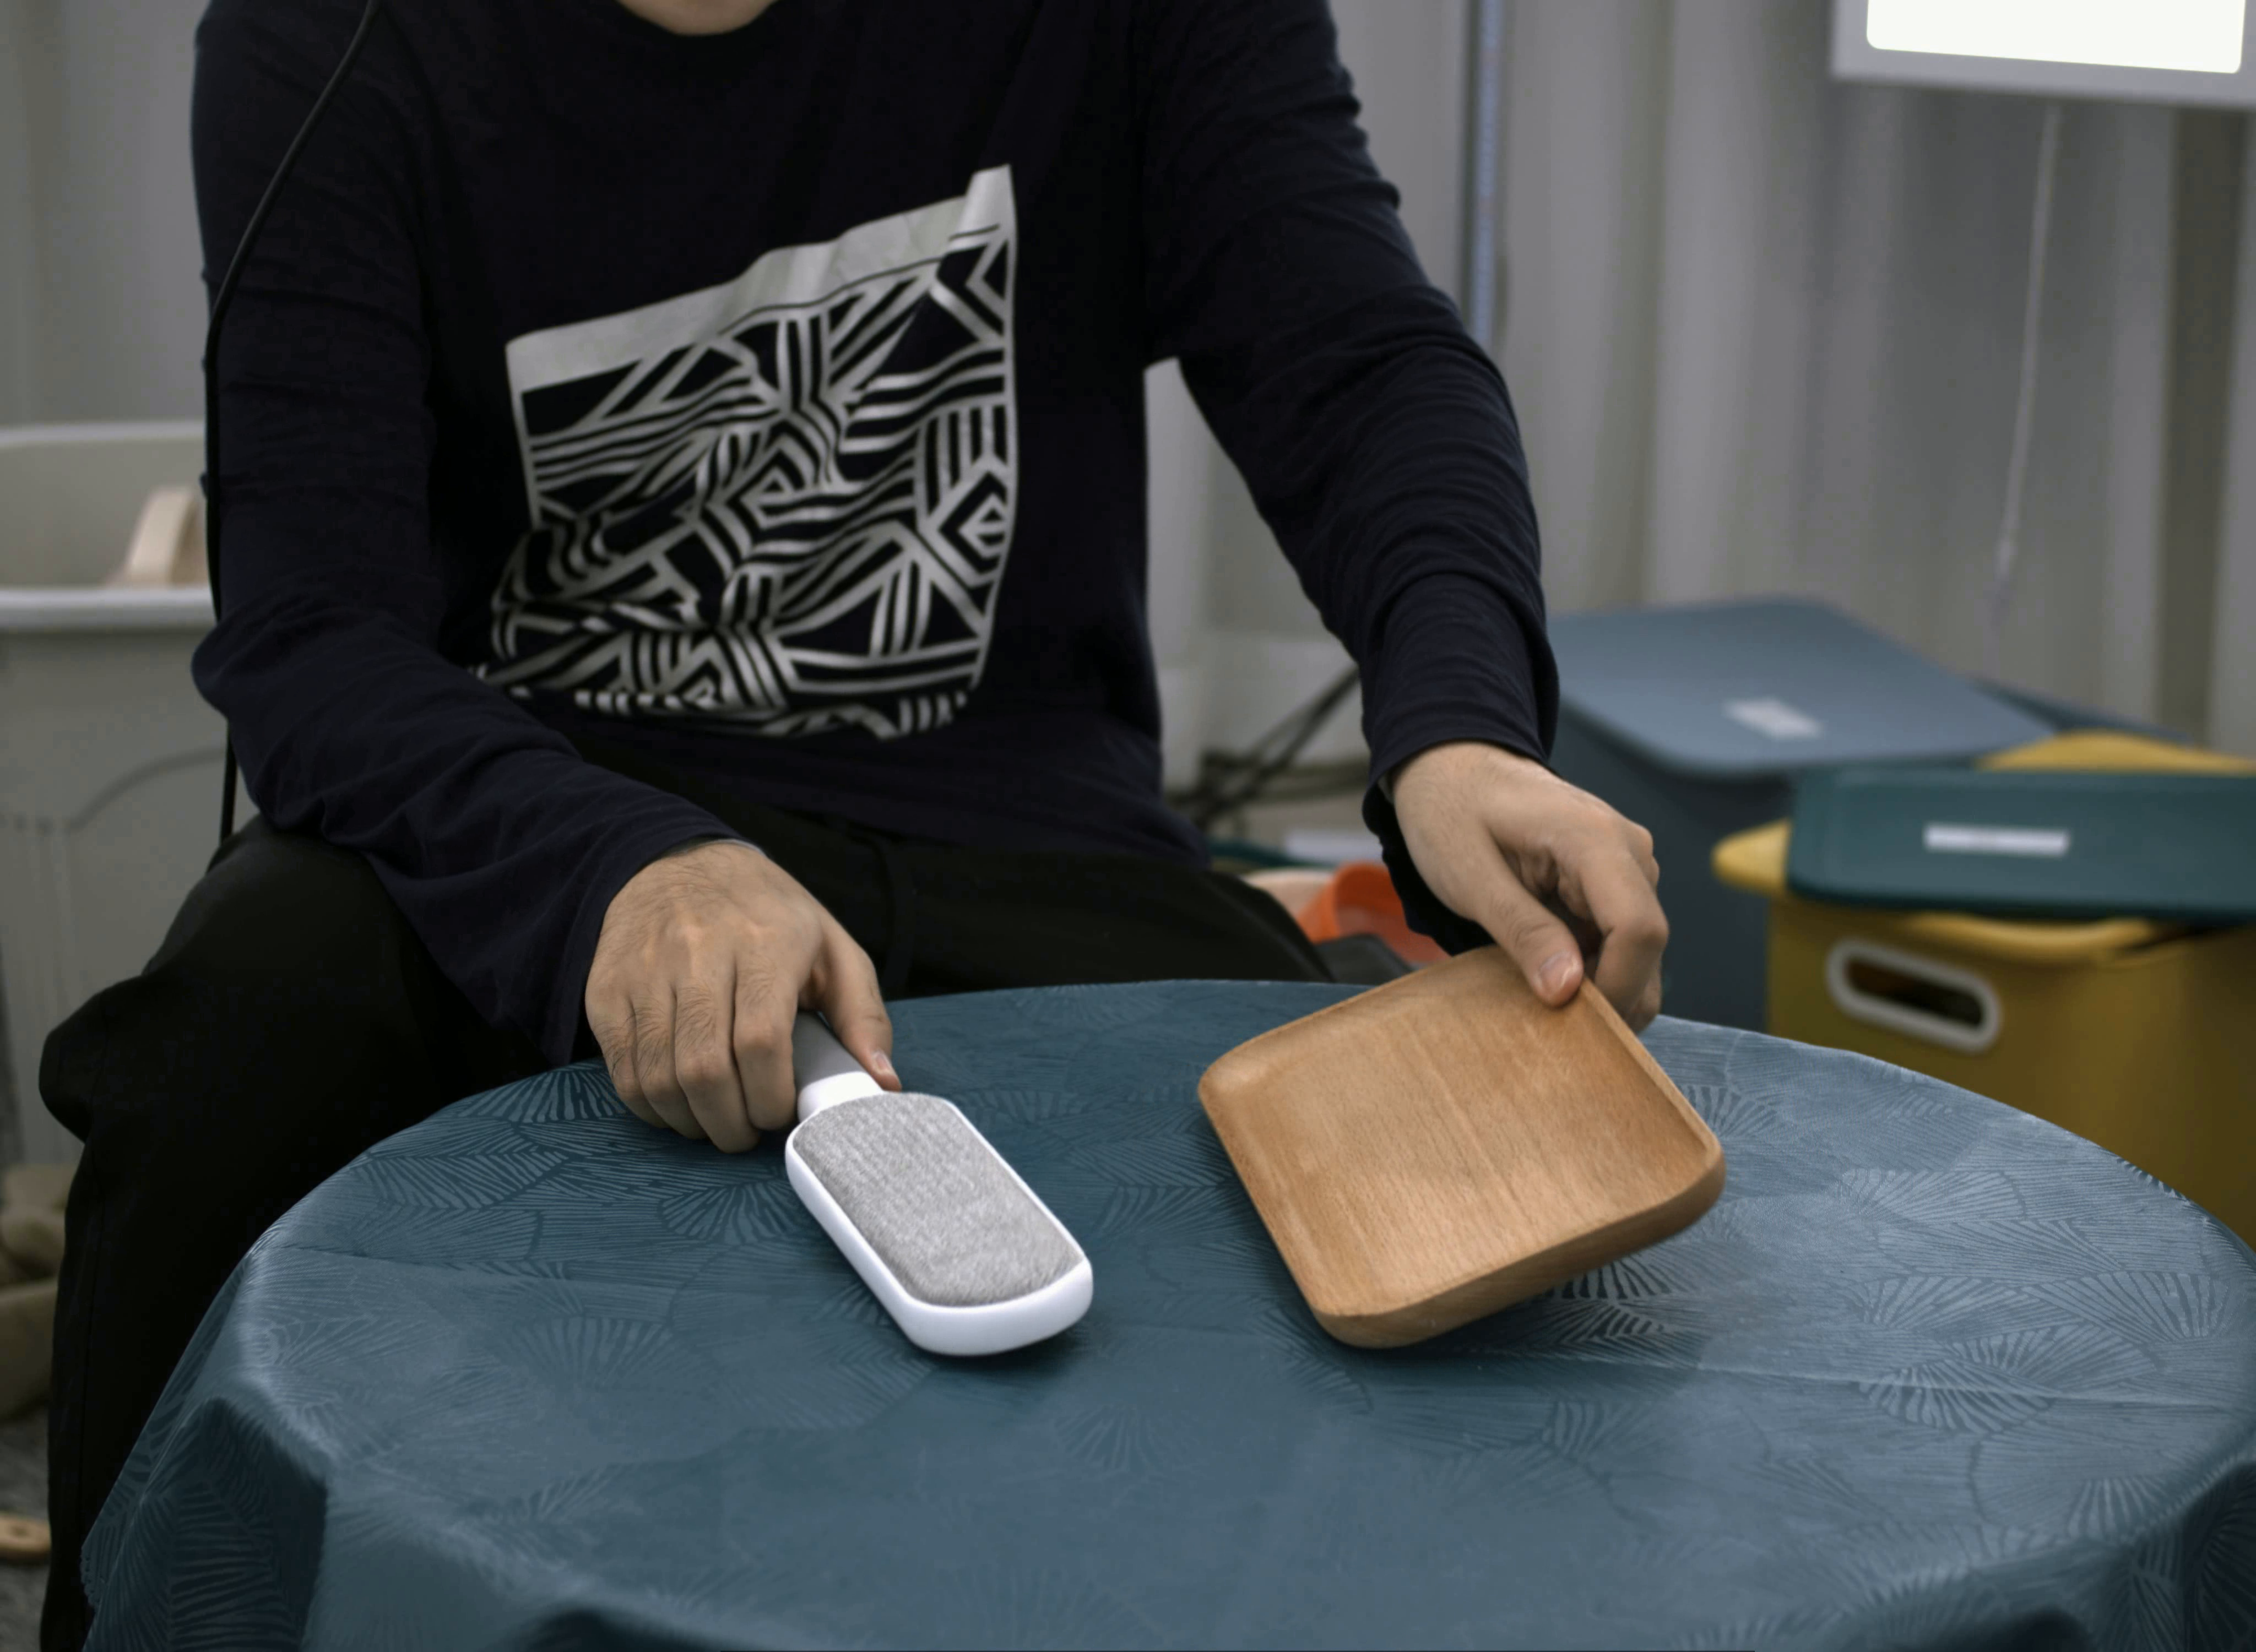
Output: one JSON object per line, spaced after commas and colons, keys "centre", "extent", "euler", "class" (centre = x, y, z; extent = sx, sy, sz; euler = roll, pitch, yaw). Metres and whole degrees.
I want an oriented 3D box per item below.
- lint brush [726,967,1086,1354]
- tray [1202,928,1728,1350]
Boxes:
{"centre": [-0.076, 0.096, 1.608], "extent": [0.060, 0.021, 0.305], "euler": [-18, 21, -13], "class": "lint brush"}
{"centre": [0.098, 0.092, 1.597], "extent": [0.130, 0.023, 0.249], "euler": [-18, 18, -2], "class": "tray"}
